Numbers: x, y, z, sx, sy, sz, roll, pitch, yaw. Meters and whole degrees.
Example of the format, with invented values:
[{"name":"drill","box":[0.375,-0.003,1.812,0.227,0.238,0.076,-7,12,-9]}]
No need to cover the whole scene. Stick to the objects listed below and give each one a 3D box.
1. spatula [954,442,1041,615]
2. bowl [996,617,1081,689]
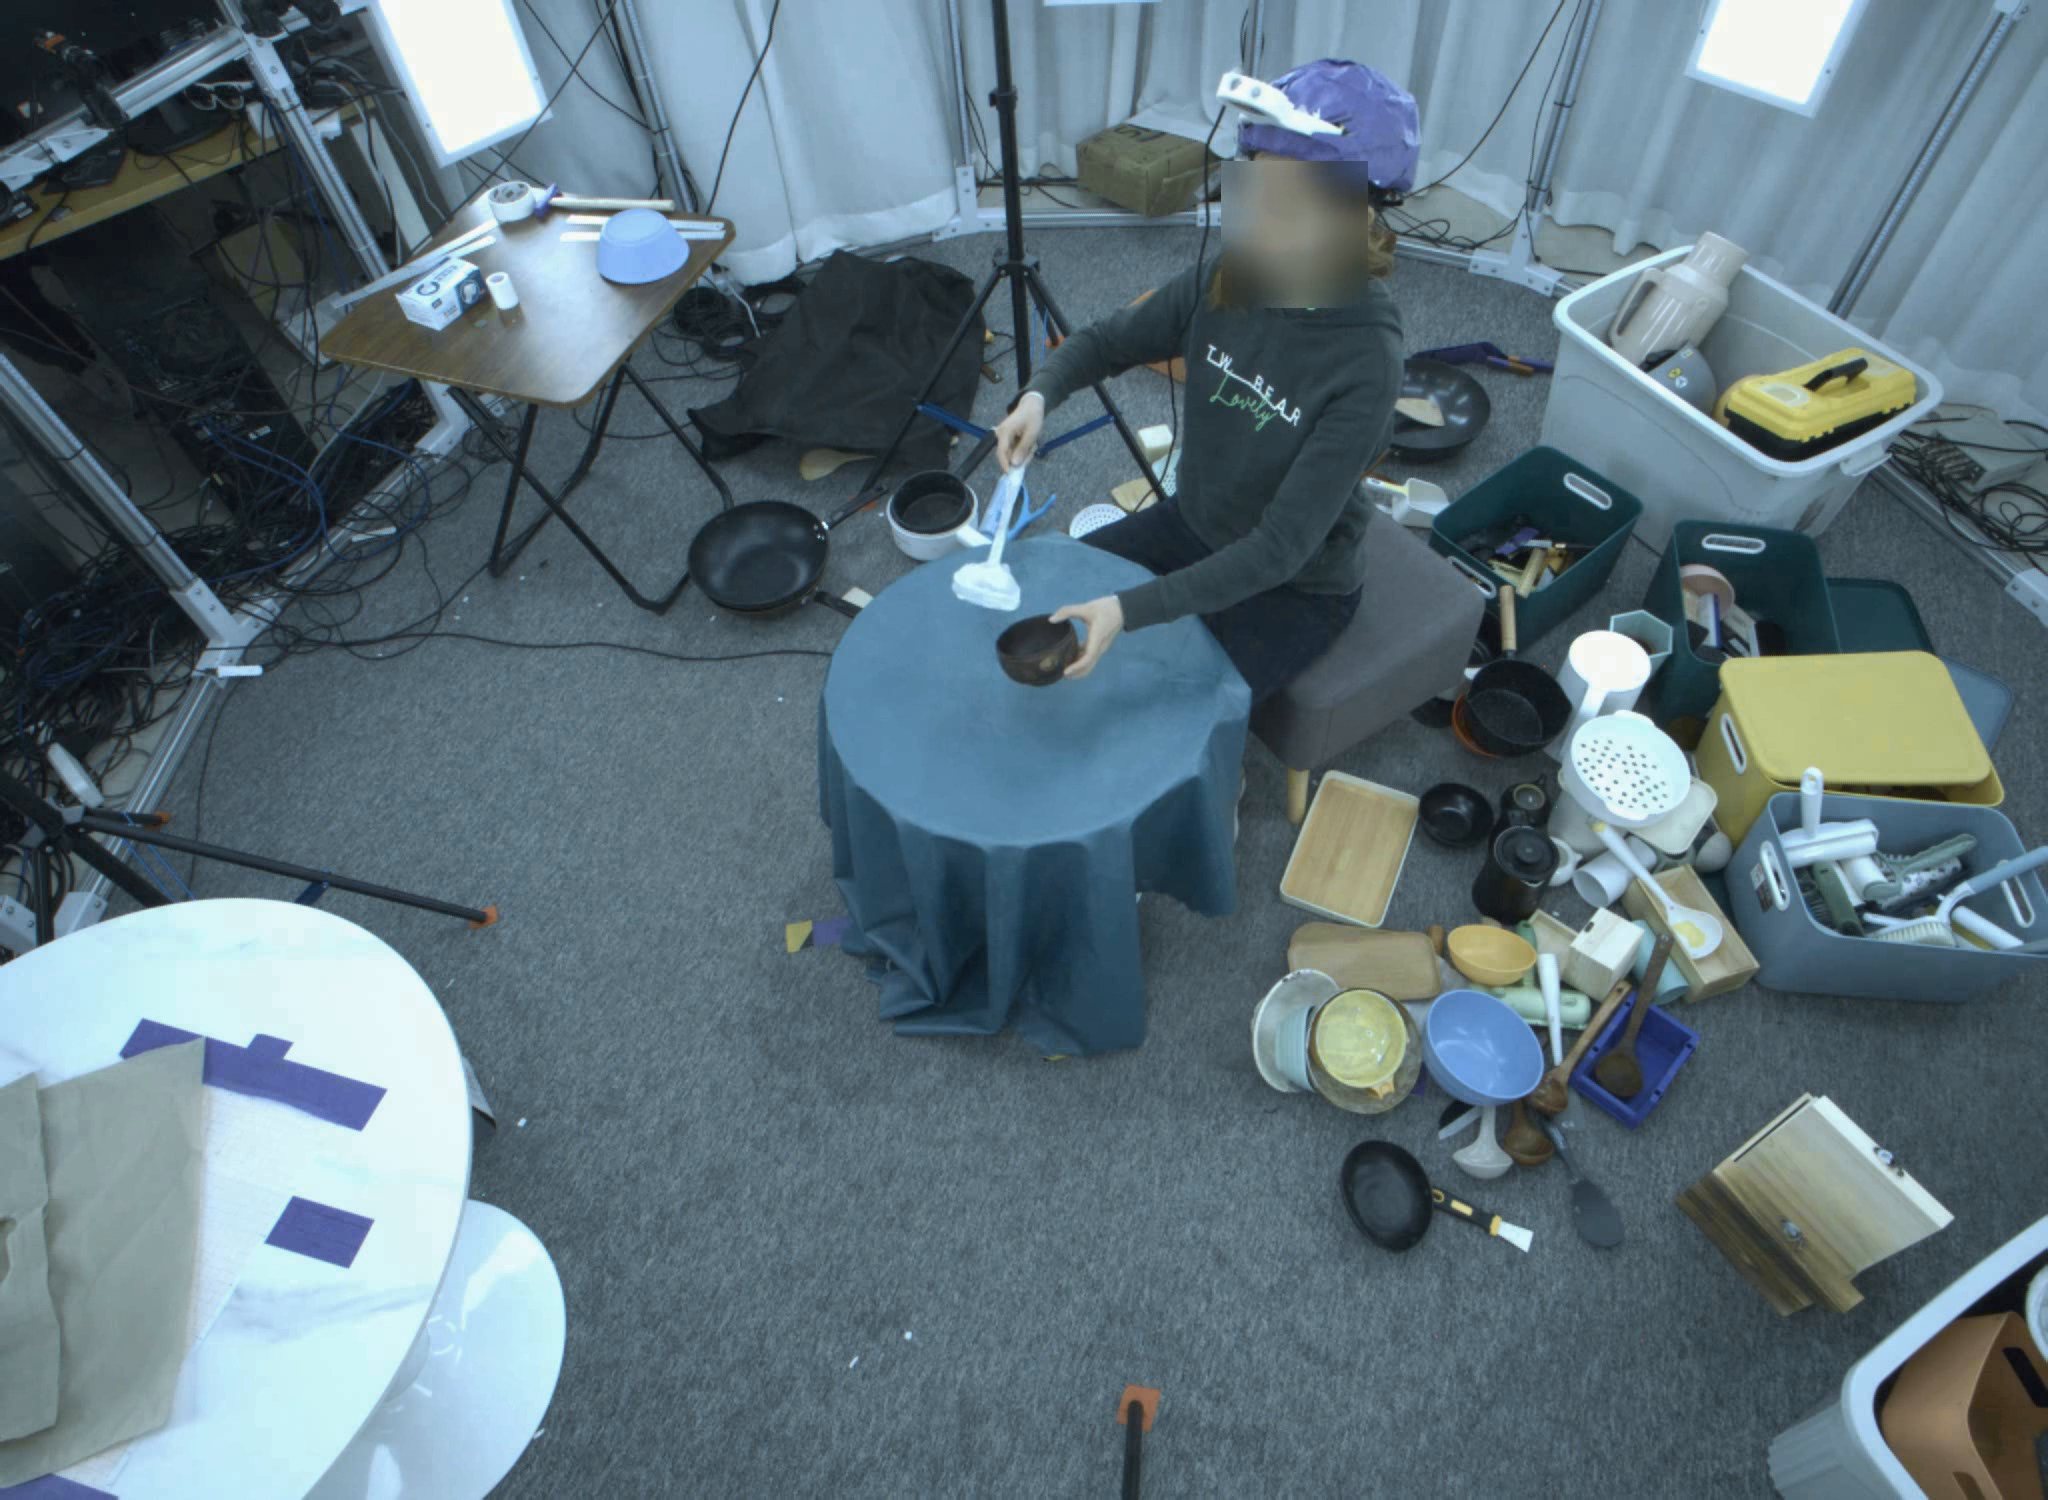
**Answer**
[{"name":"spatula","box":[-0.021,-0.338,1.791,0.099,0.045,0.363,16,62,-4]},{"name":"bowl","box":[0.024,-0.130,1.737,0.117,0.071,0.117,-10,35,8]}]
